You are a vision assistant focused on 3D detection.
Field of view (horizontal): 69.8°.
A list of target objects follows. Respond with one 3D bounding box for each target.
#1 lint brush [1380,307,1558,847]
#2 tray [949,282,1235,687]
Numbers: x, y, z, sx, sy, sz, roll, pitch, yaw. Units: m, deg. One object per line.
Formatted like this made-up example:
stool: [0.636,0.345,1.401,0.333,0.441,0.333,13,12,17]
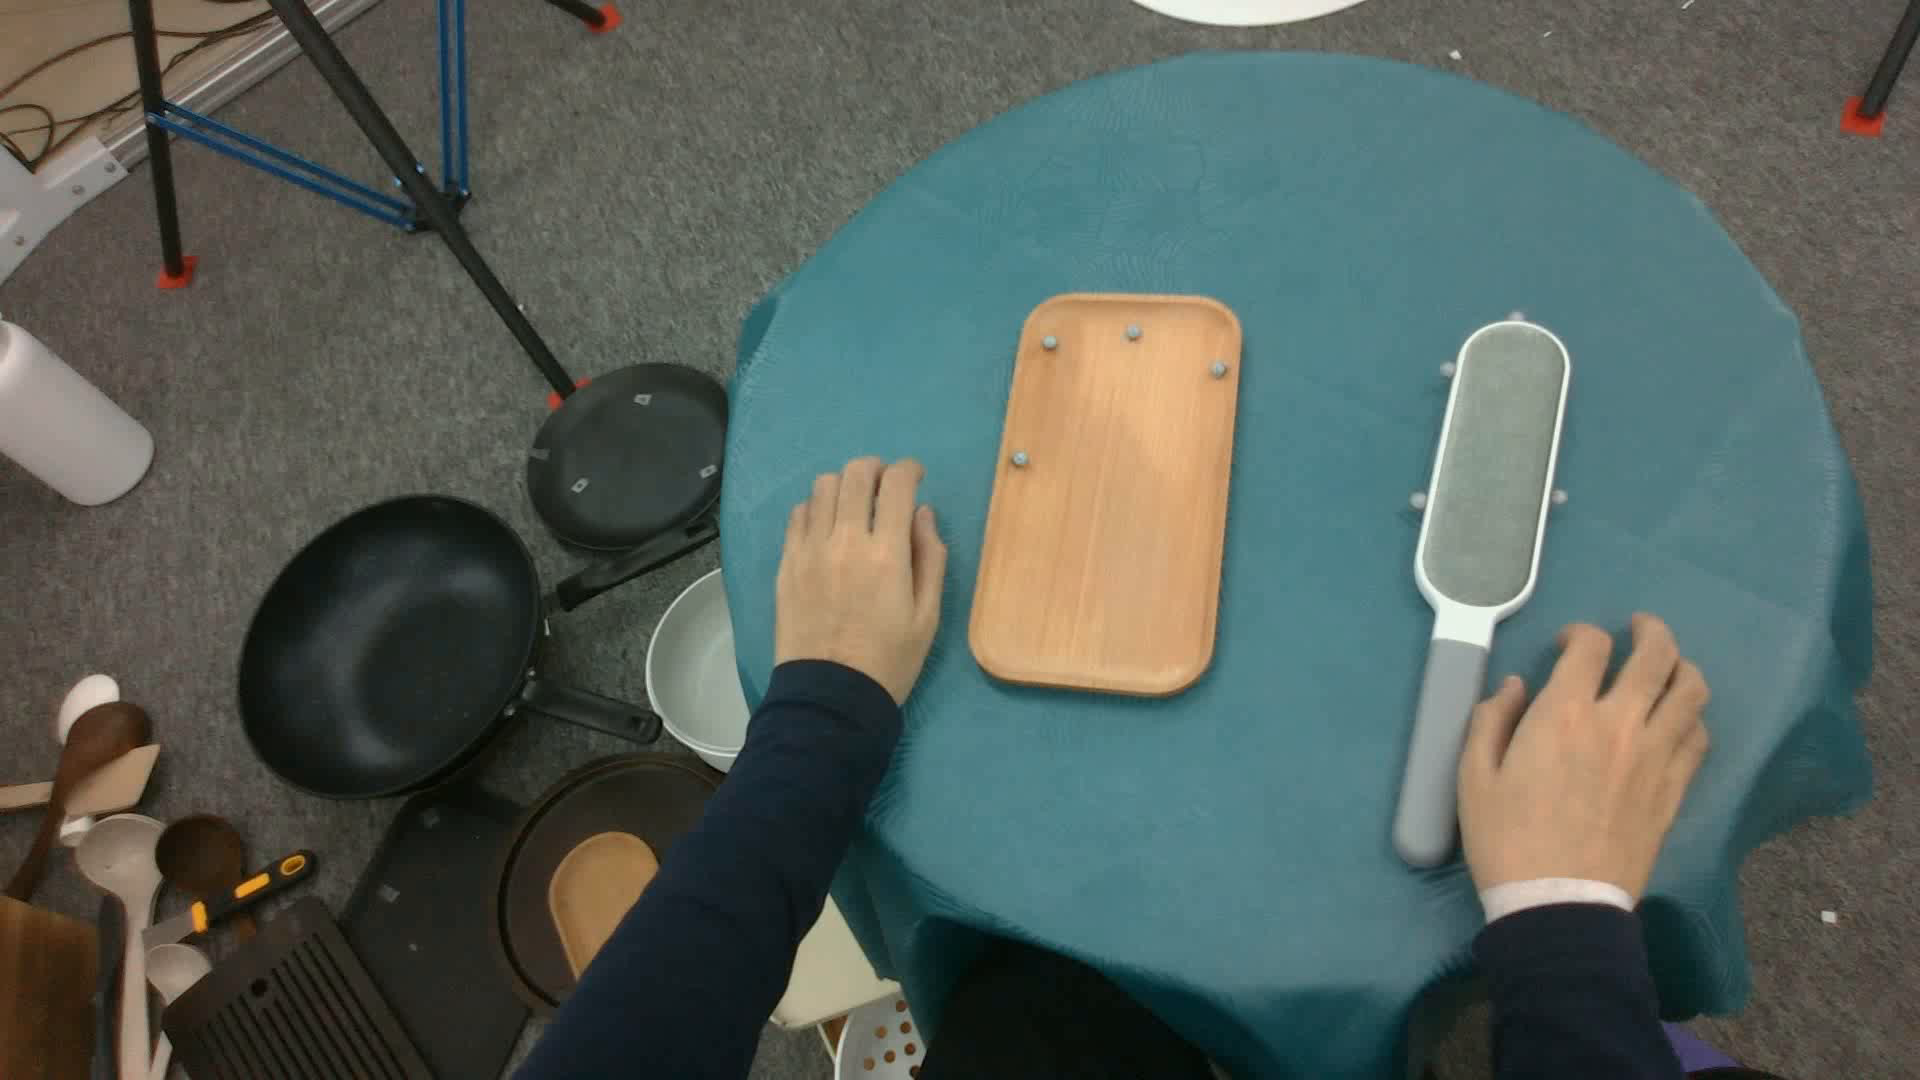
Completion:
lint brush: [0.251,0.006,0.690,0.060,0.021,0.310,15,64,13]
tray: [0.076,-0.038,0.753,0.130,0.023,0.252,5,62,15]
